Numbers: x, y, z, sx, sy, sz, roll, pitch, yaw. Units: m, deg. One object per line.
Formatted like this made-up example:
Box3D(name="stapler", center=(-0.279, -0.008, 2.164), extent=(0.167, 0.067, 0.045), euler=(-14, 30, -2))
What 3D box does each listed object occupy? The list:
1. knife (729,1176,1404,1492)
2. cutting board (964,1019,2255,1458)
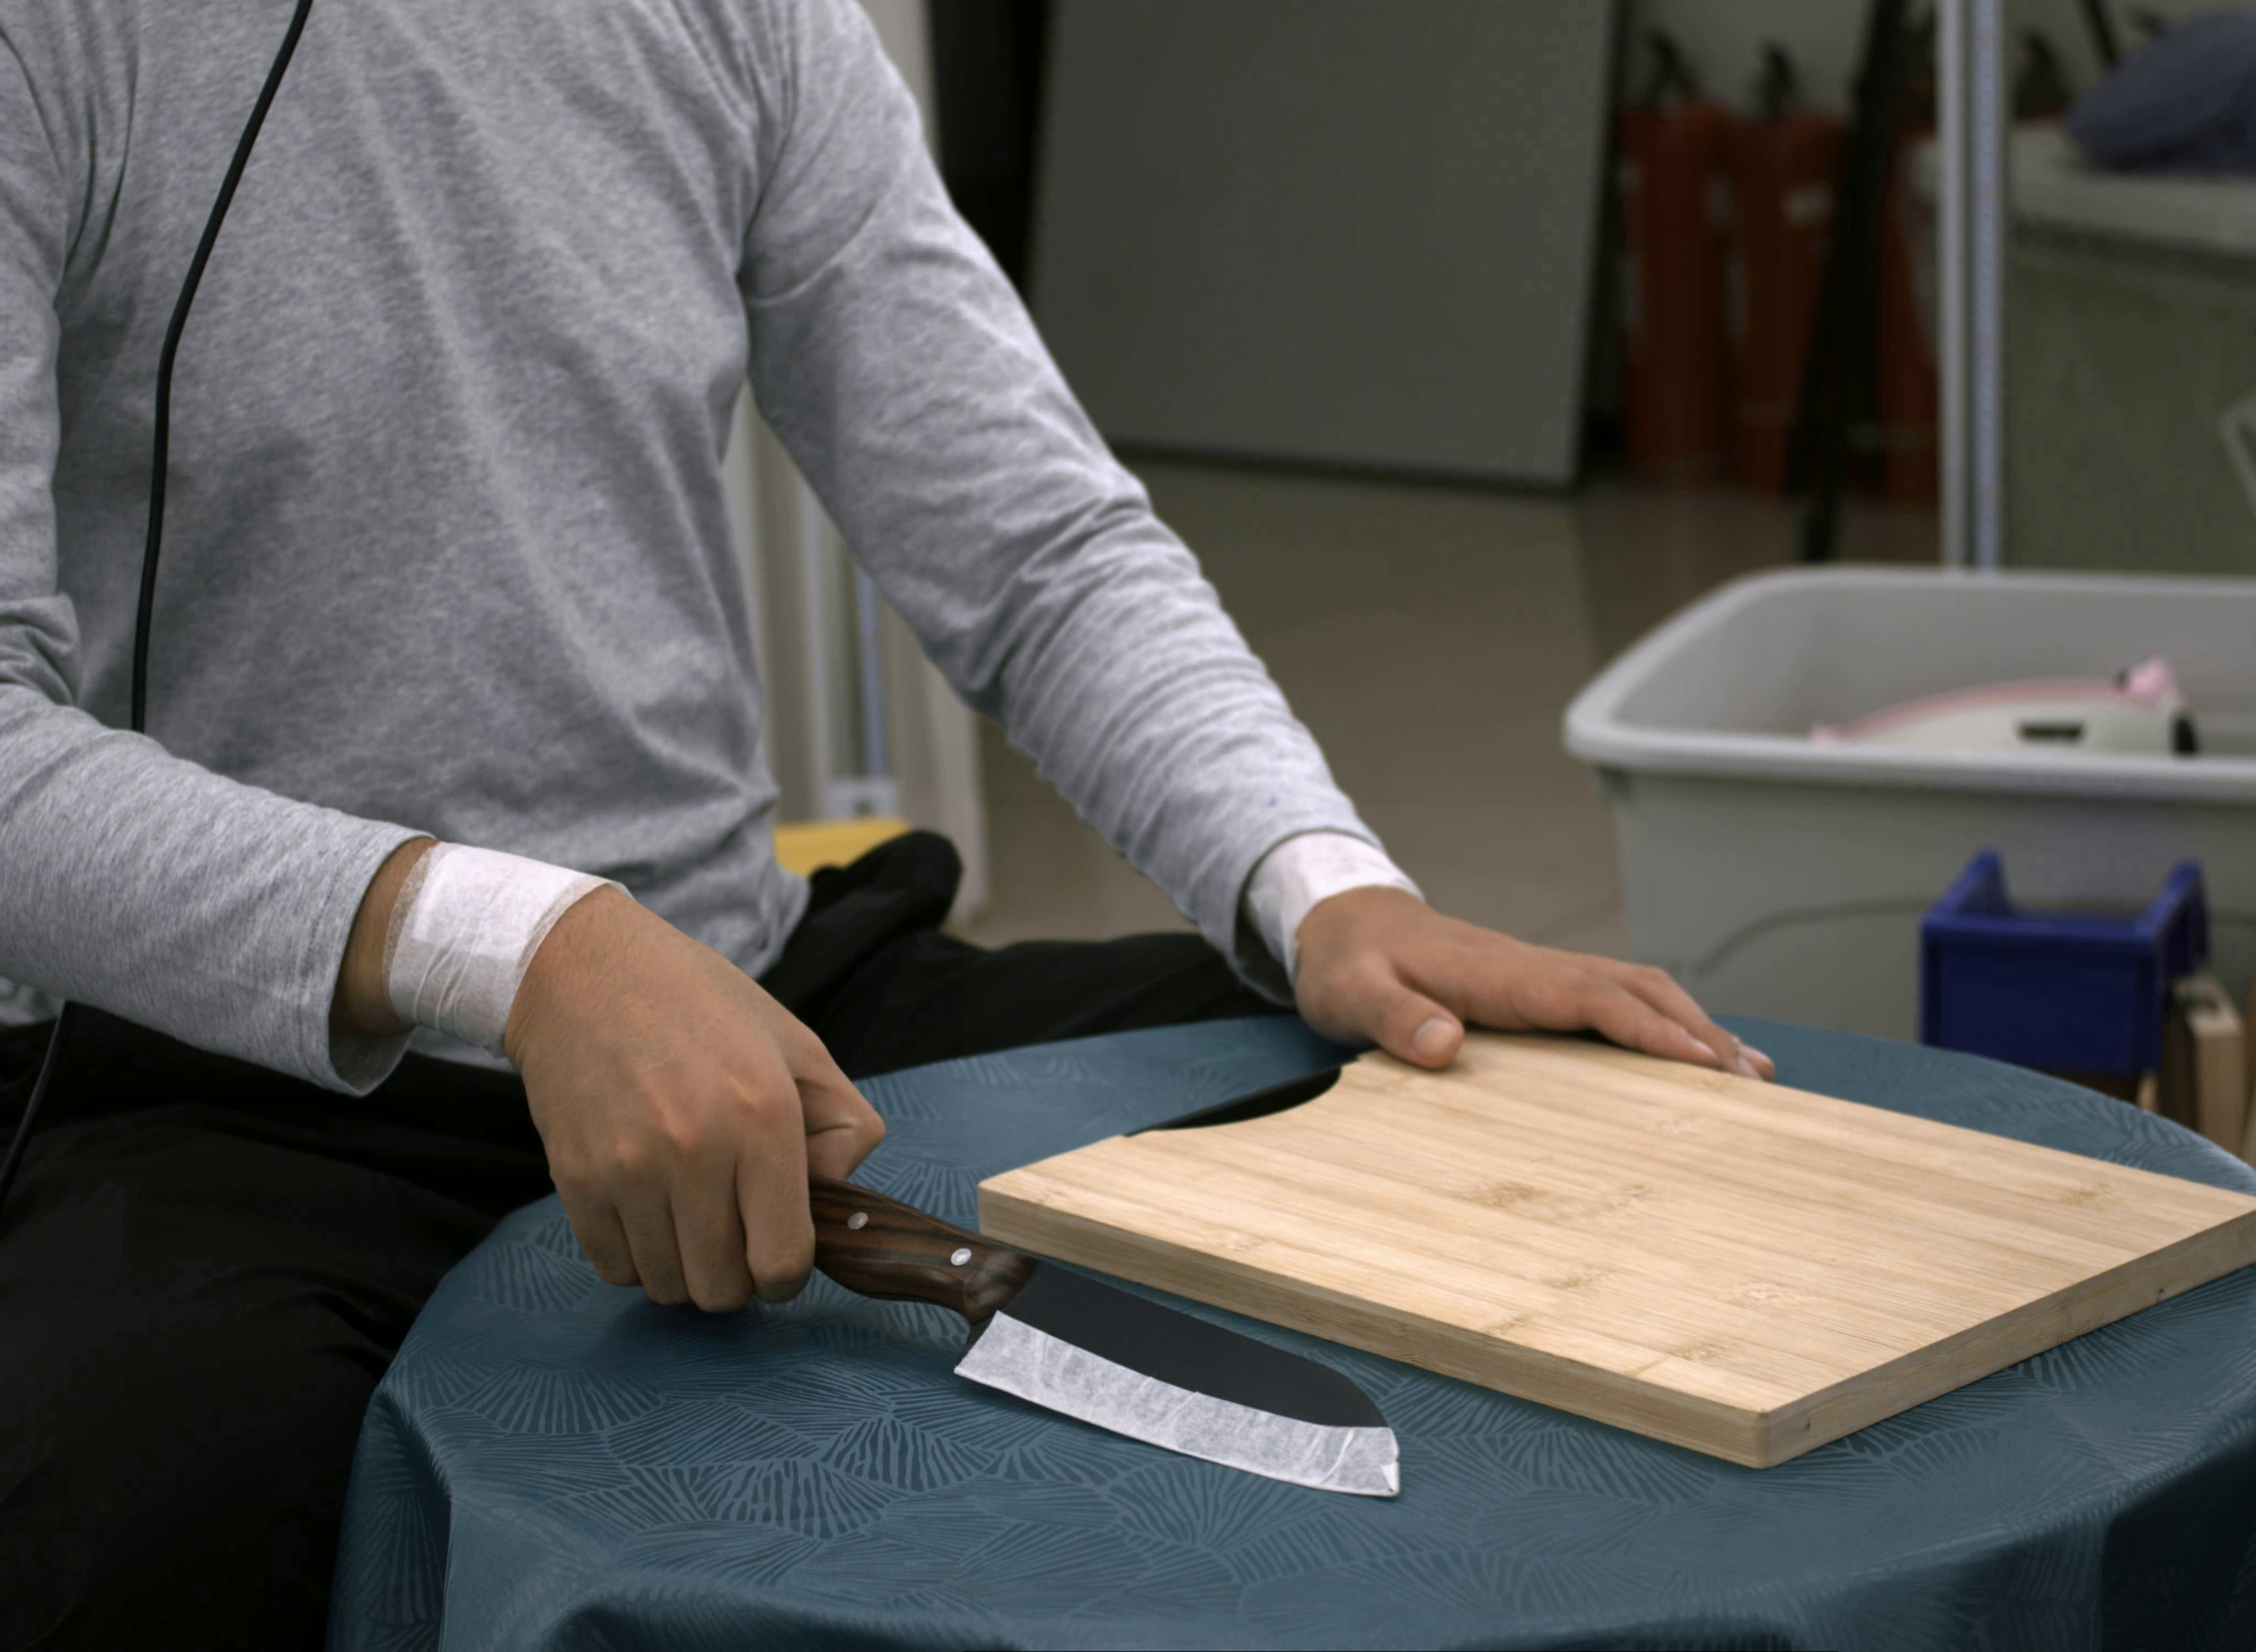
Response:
Box3D(name="knife", center=(-0.022, 0.149, 1.588), extent=(0.292, 0.020, 0.050), euler=(18, 62, 45))
Box3D(name="cutting board", center=(0.147, 0.123, 1.691), extent=(0.245, 0.024, 0.352), euler=(-15, 17, -40))
